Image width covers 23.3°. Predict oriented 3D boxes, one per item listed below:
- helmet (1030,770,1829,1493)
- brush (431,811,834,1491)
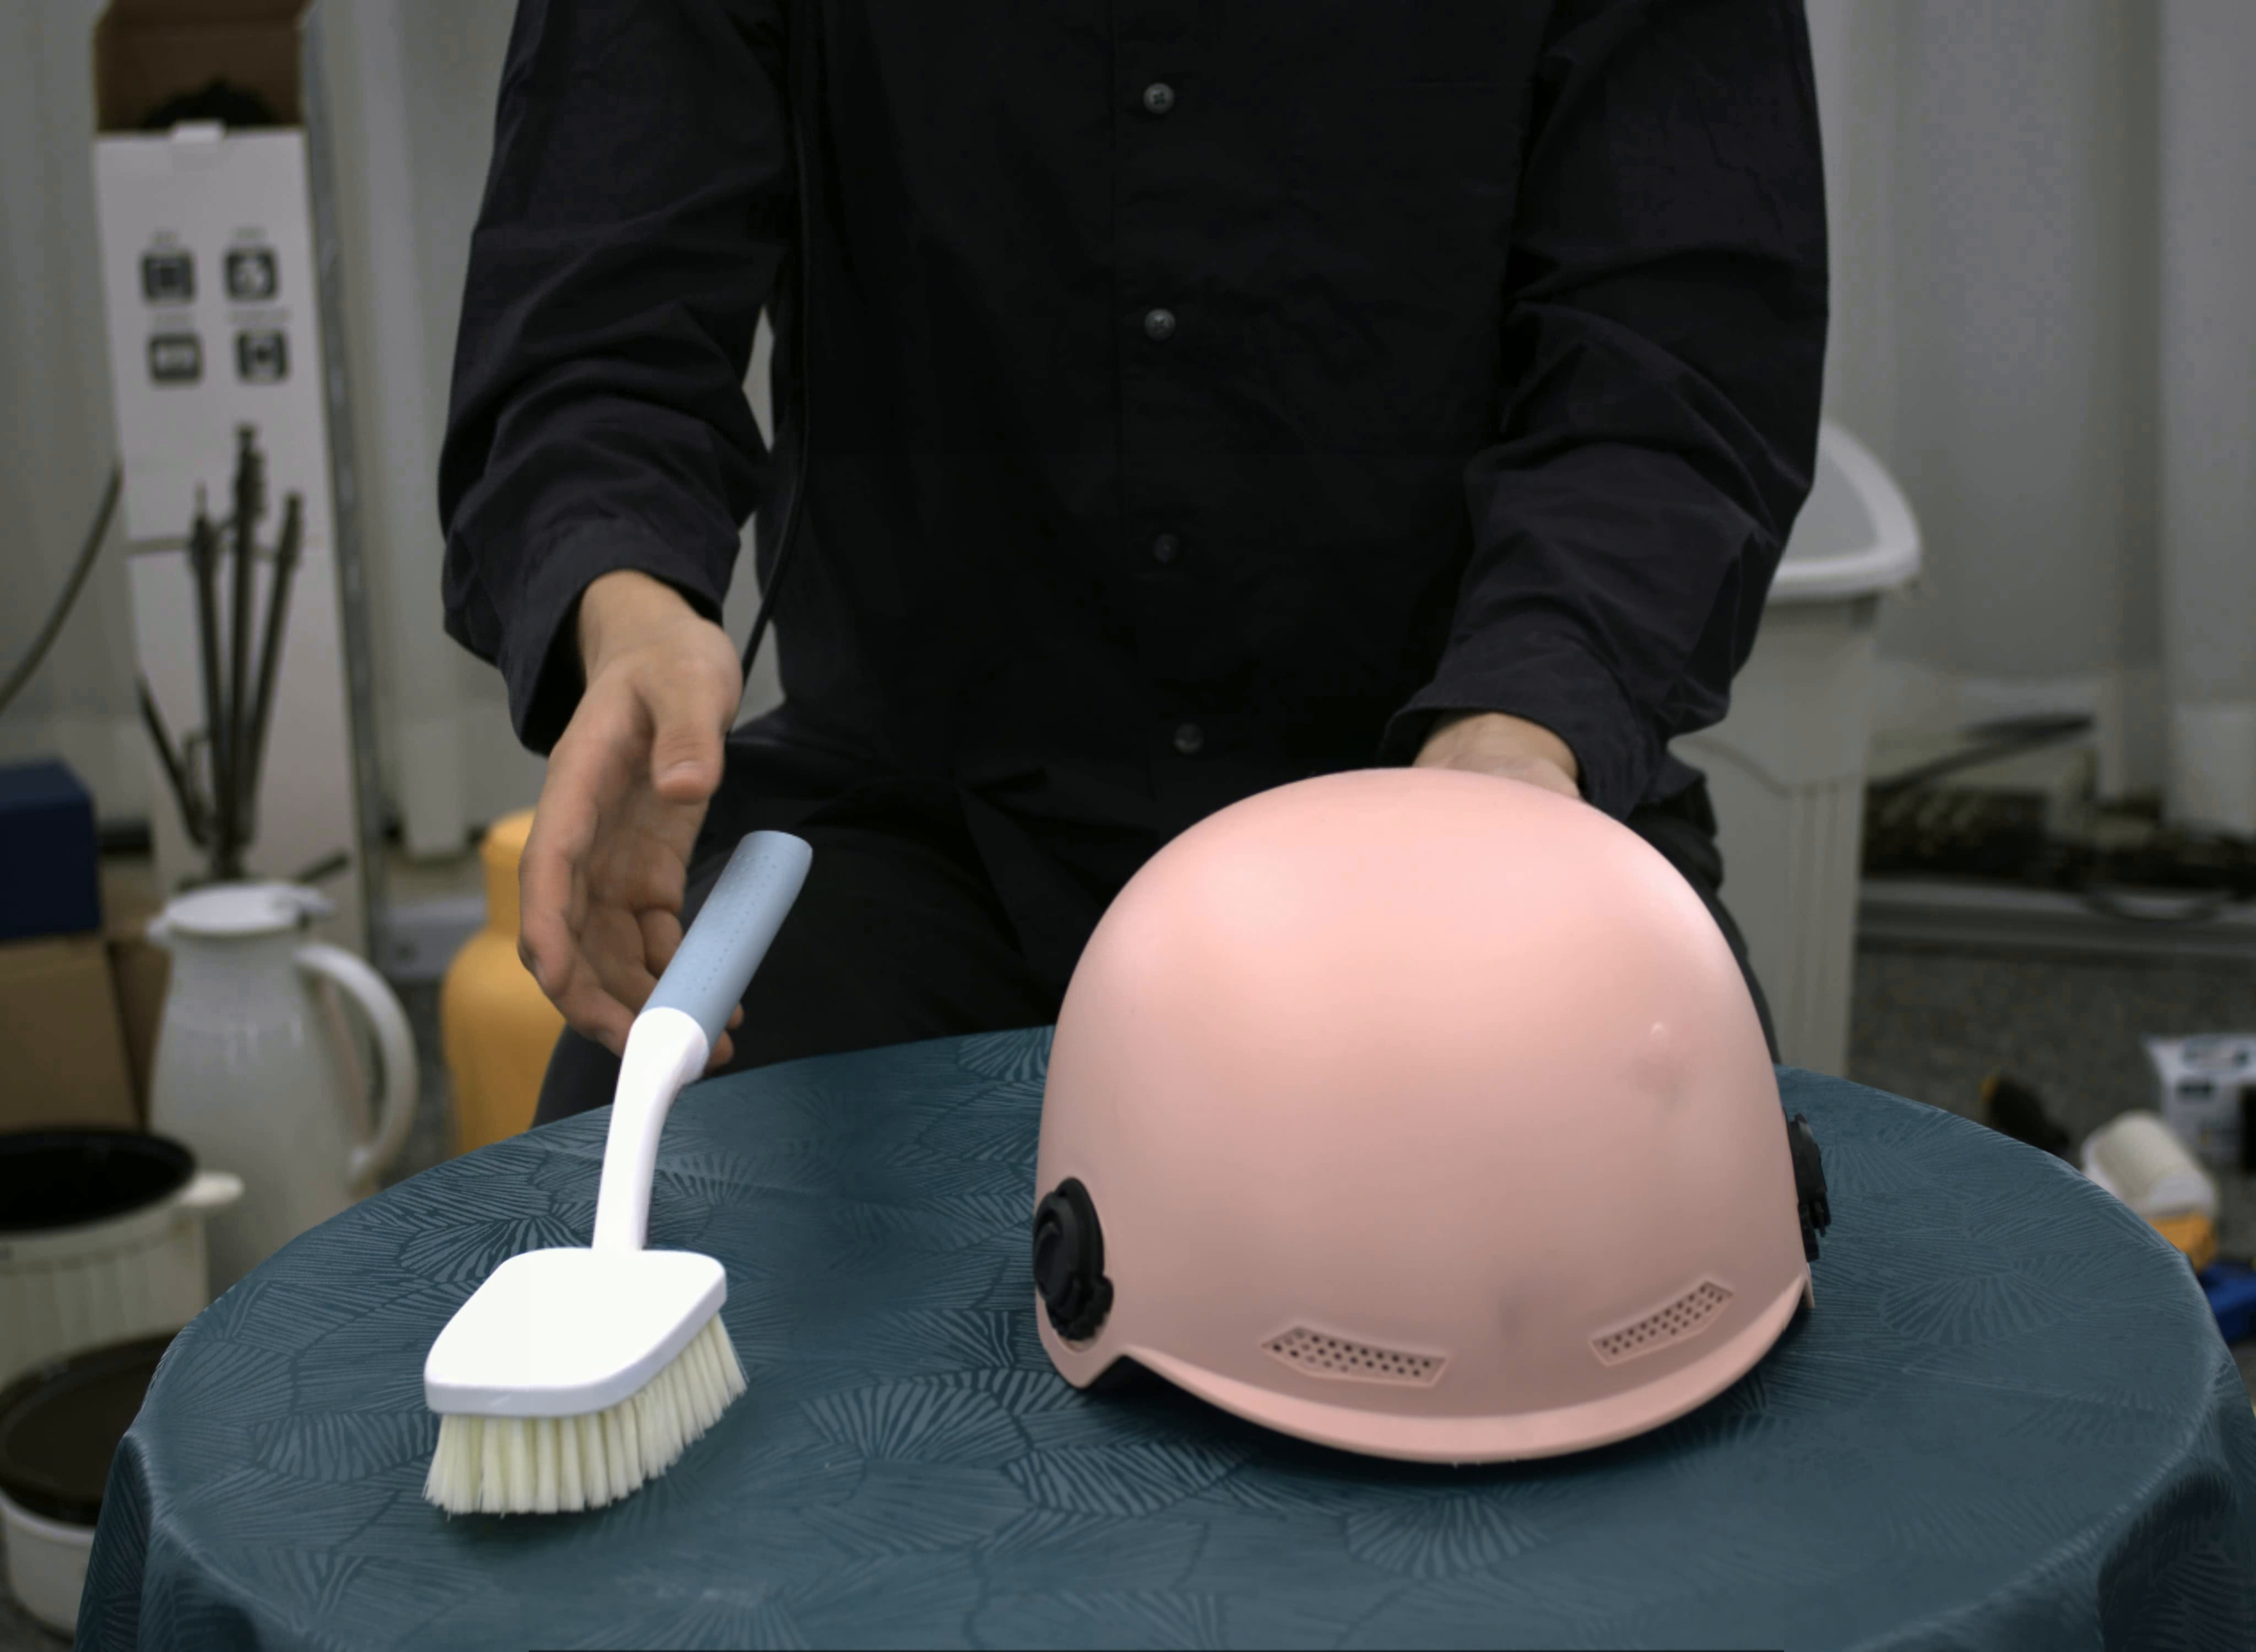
[{"bbox_3d":[0.083,0.072,1.575,0.233,0.158,0.268,-5,19,-9],"label":"helmet"},{"bbox_3d":[-0.130,0.107,1.610,0.083,0.084,0.328,32,30,-4],"label":"brush"}]
